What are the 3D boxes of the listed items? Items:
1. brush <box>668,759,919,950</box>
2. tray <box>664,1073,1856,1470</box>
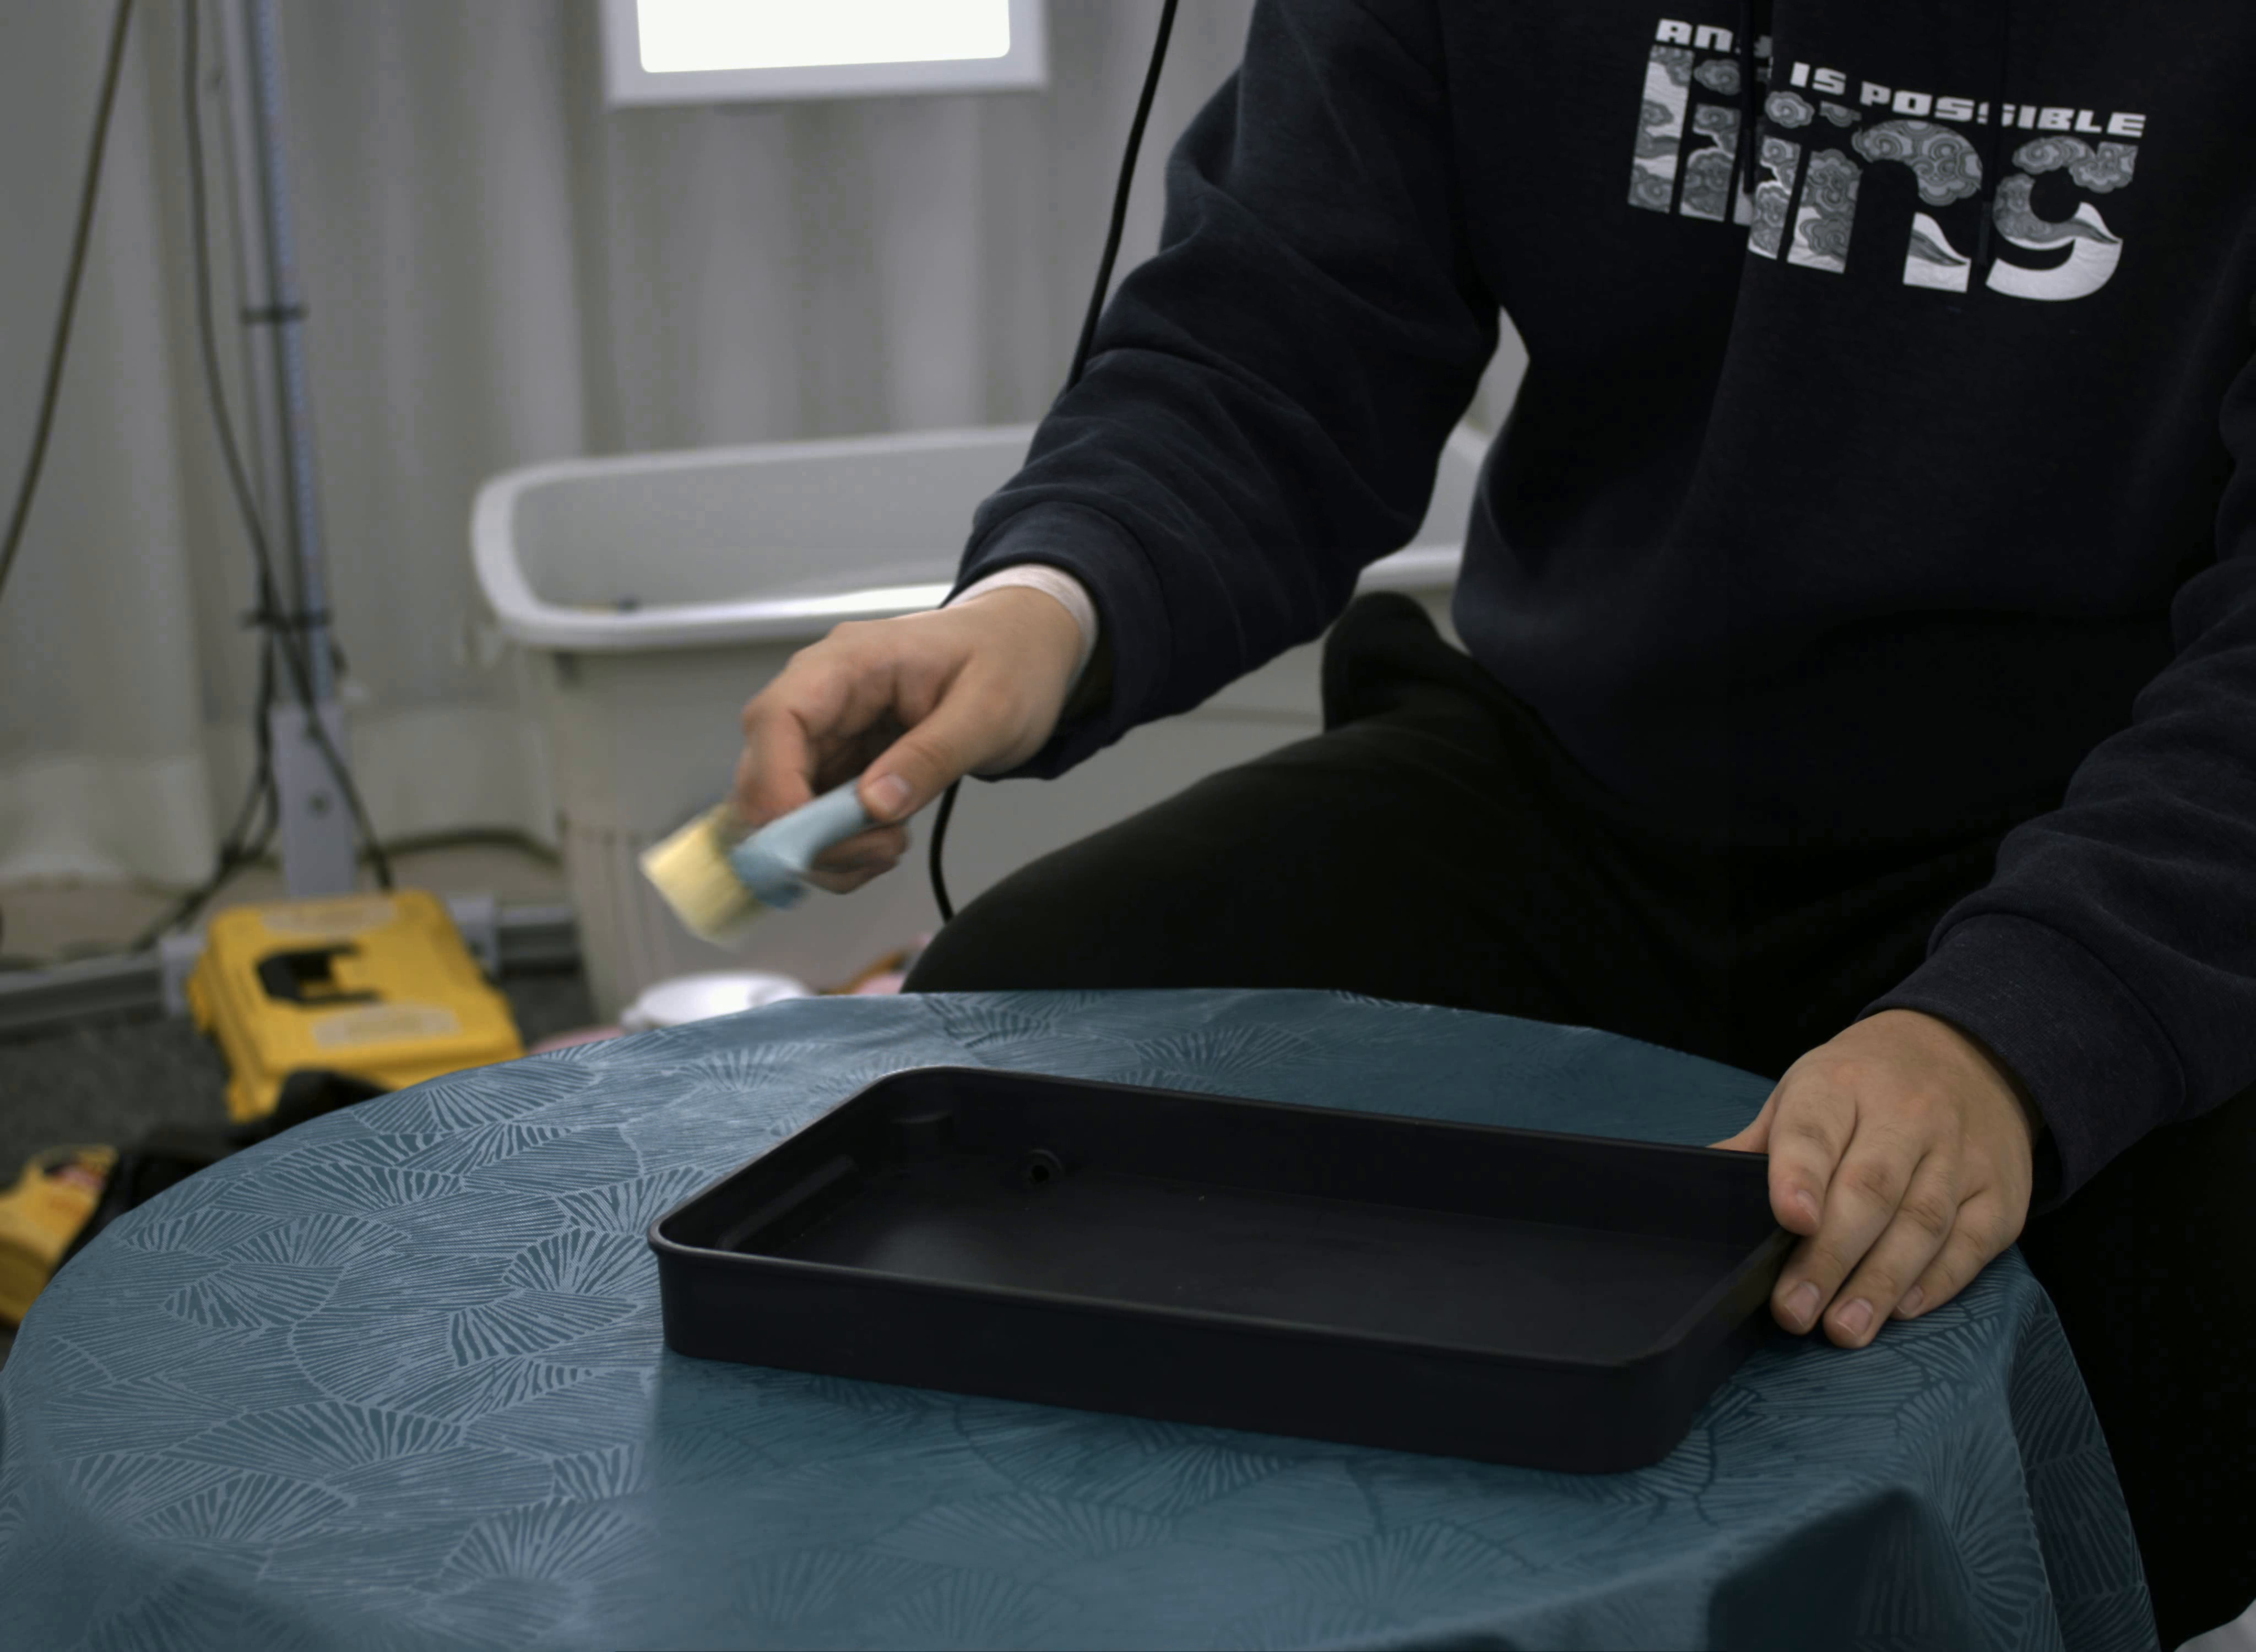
[{"bbox_3d":[-0.102,0.007,1.702,0.038,0.049,0.229,44,12,2],"label":"brush"},{"bbox_3d":[0.040,0.126,1.597,0.318,0.037,0.184,4,16,24],"label":"tray"}]
